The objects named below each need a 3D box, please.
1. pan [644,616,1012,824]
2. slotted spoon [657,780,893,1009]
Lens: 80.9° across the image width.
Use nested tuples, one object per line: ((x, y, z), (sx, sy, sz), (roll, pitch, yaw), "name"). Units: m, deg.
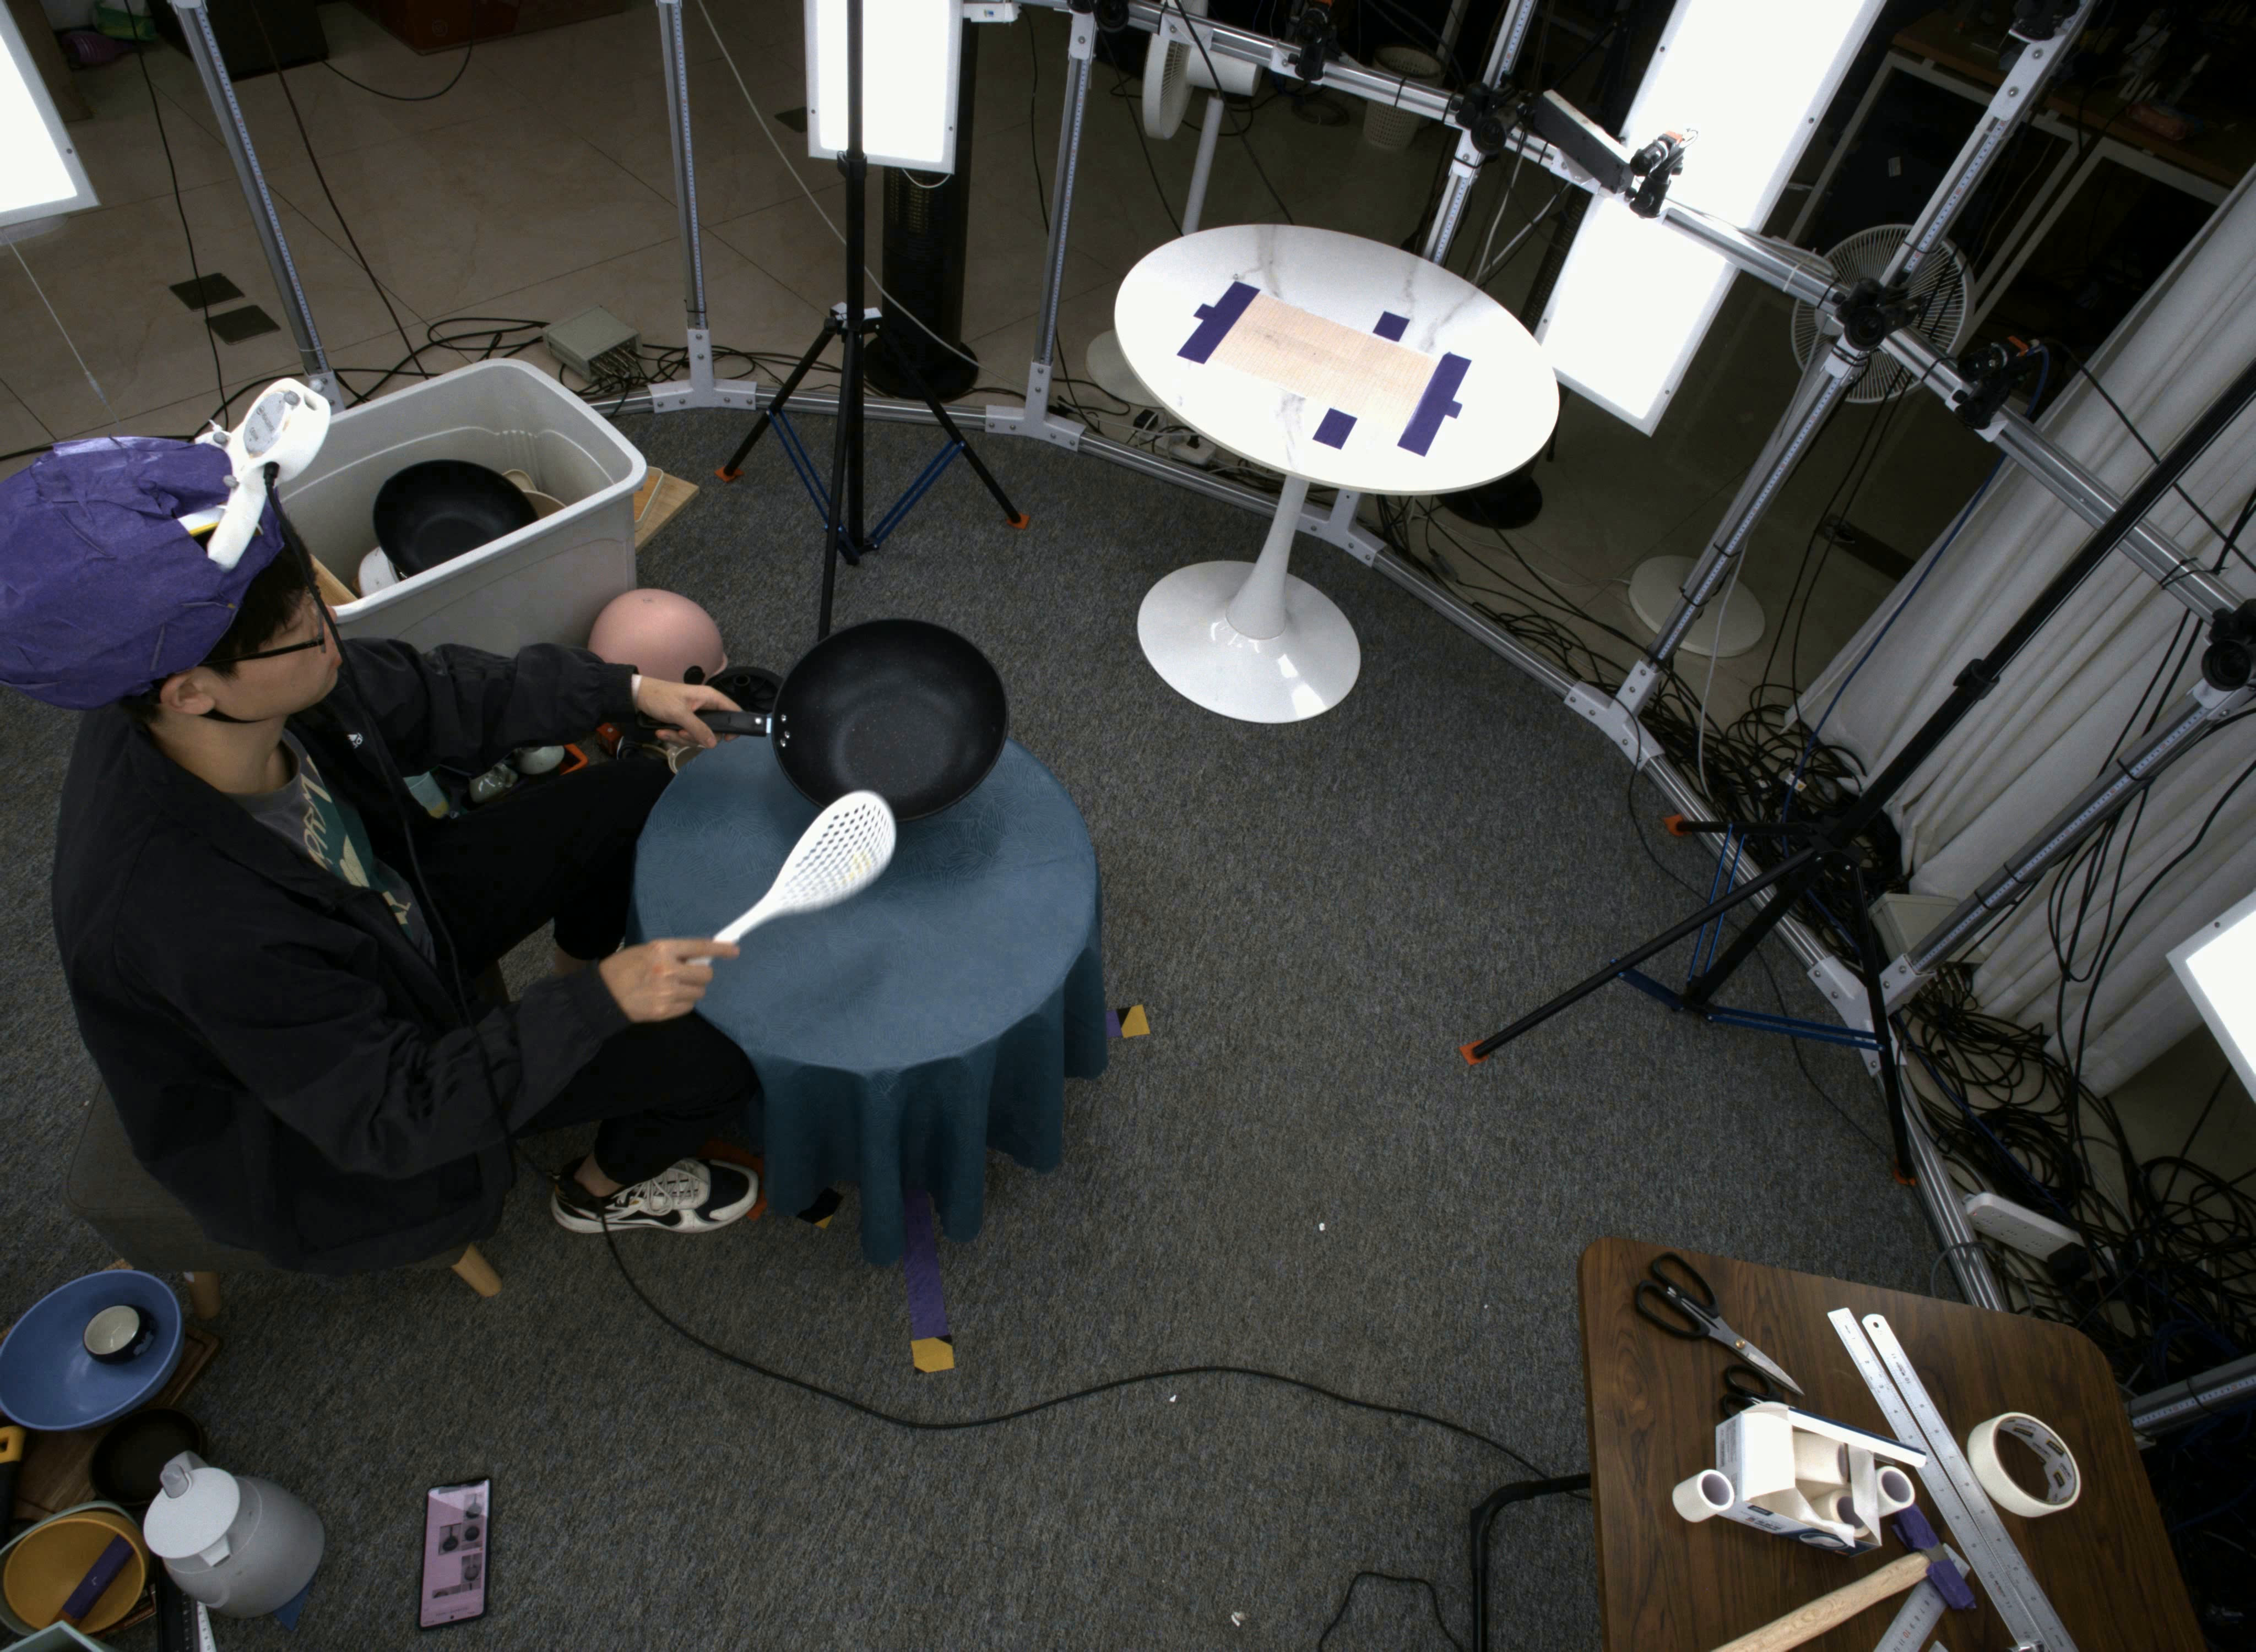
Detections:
((-0.388, -0.127, 1.708), (0.474, 0.114, 0.306), (-3, 64, -6), "pan")
((-0.398, 0.083, 1.472), (0.348, 0.141, 0.048), (-39, 59, -20), "slotted spoon")
